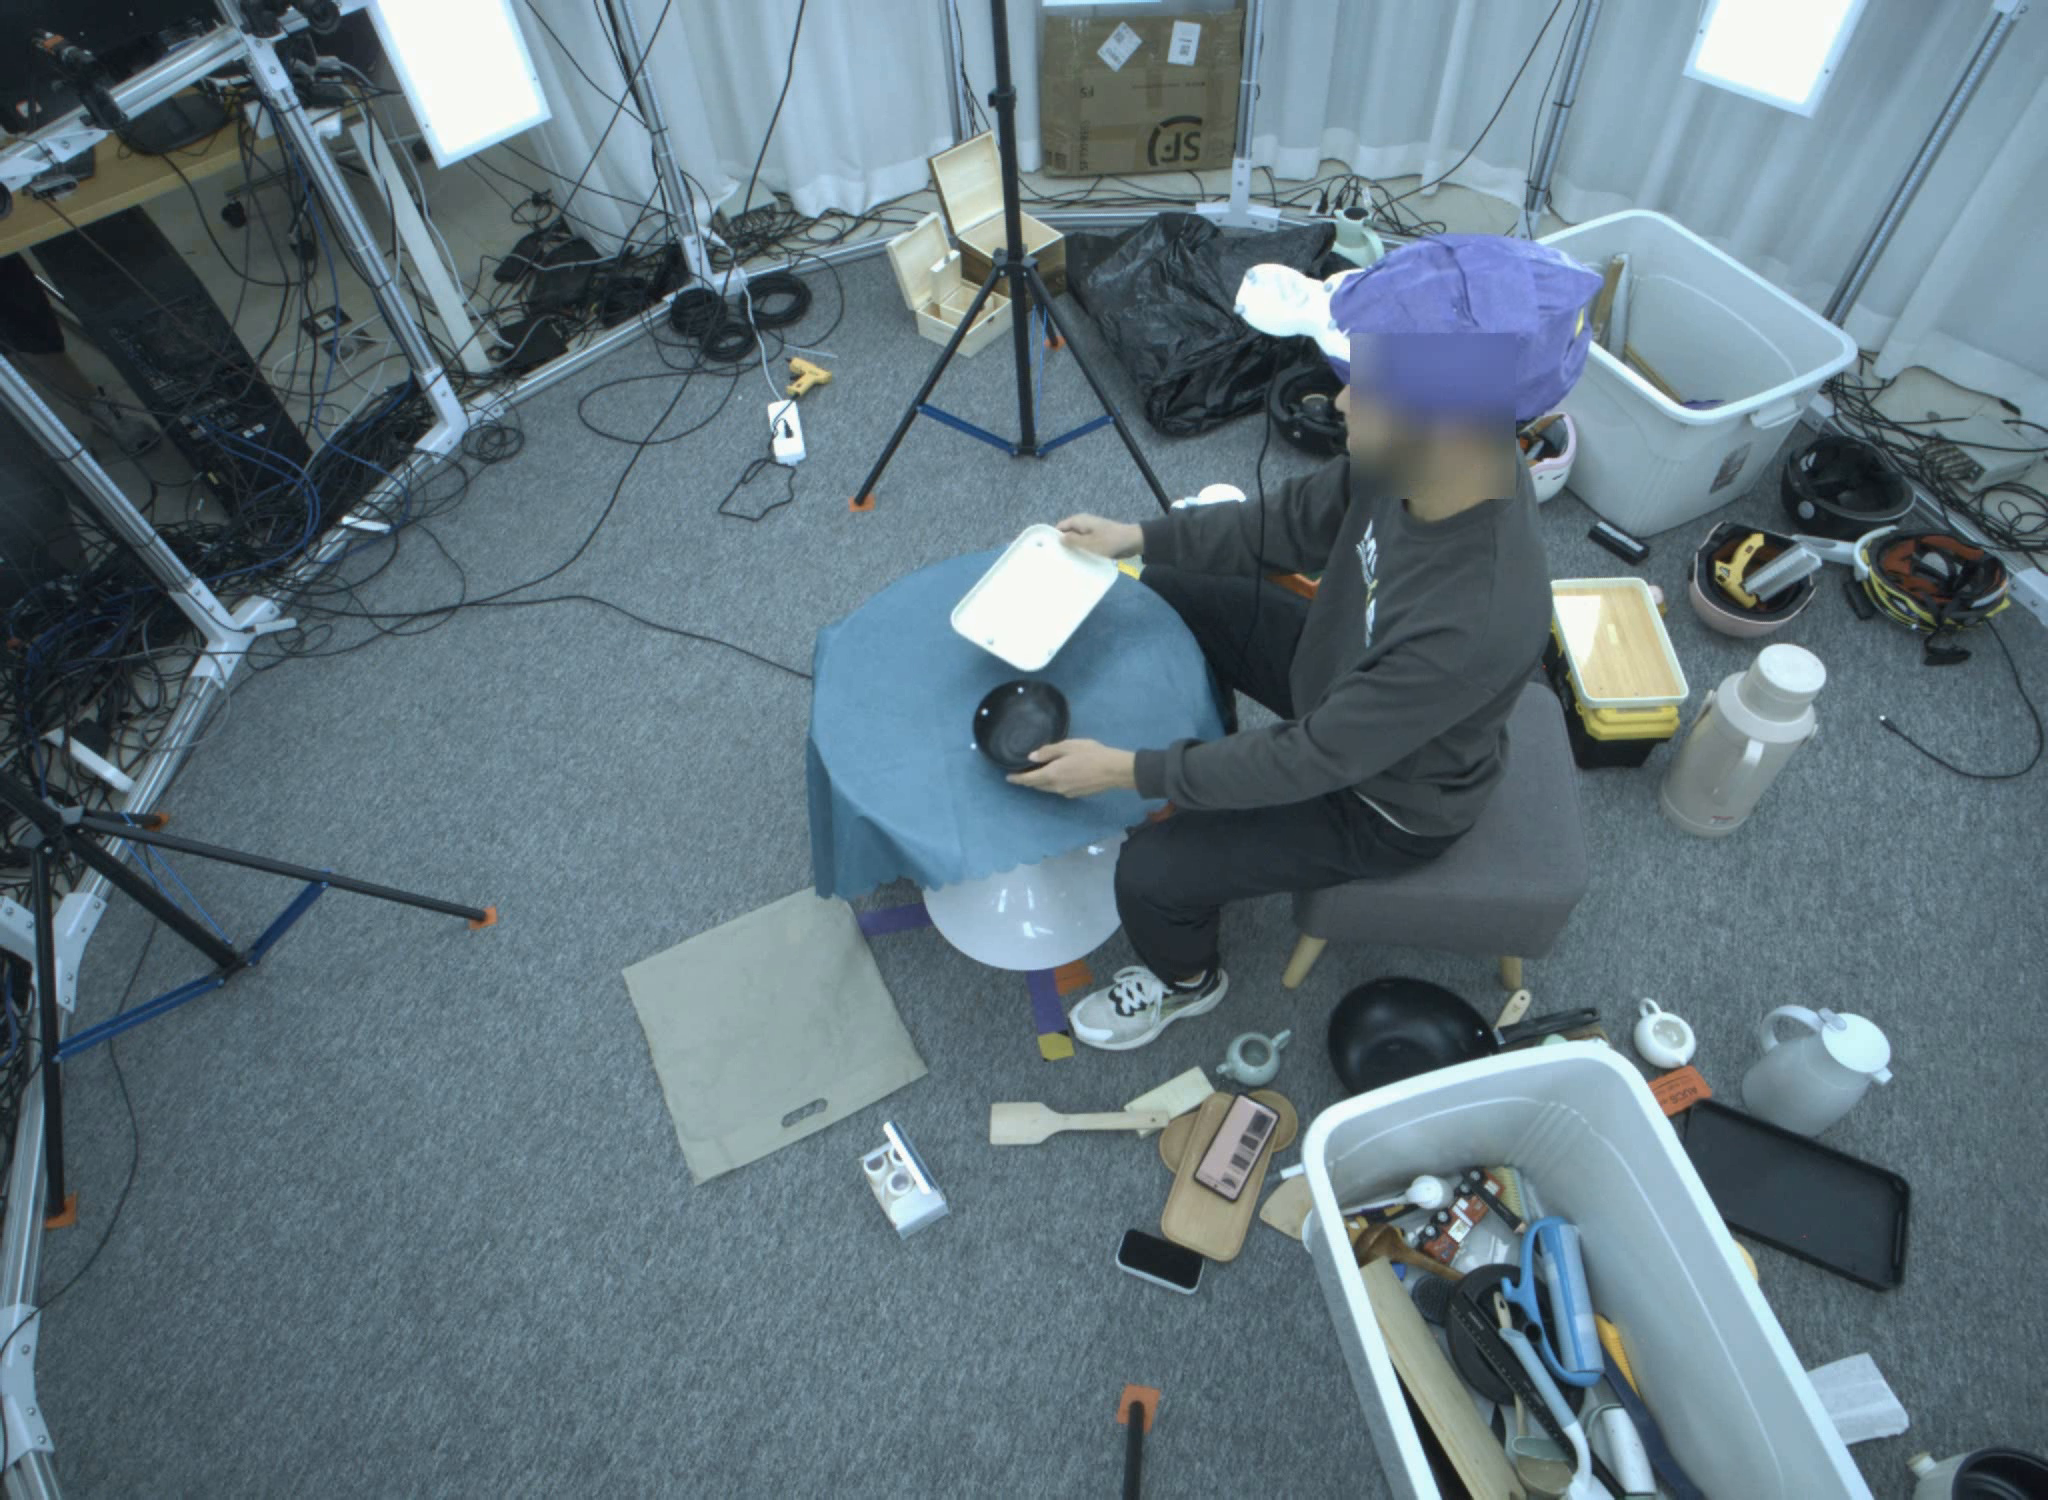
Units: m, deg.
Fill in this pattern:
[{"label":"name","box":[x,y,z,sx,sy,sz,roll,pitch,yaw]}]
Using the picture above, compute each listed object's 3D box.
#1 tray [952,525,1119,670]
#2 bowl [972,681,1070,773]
[{"label":"tray","box":[0.018,-0.230,1.837,0.169,0.017,0.240,31,66,17]},{"label":"bowl","box":[-0.003,-0.026,1.766,0.136,0.067,0.169,11,53,9]}]
